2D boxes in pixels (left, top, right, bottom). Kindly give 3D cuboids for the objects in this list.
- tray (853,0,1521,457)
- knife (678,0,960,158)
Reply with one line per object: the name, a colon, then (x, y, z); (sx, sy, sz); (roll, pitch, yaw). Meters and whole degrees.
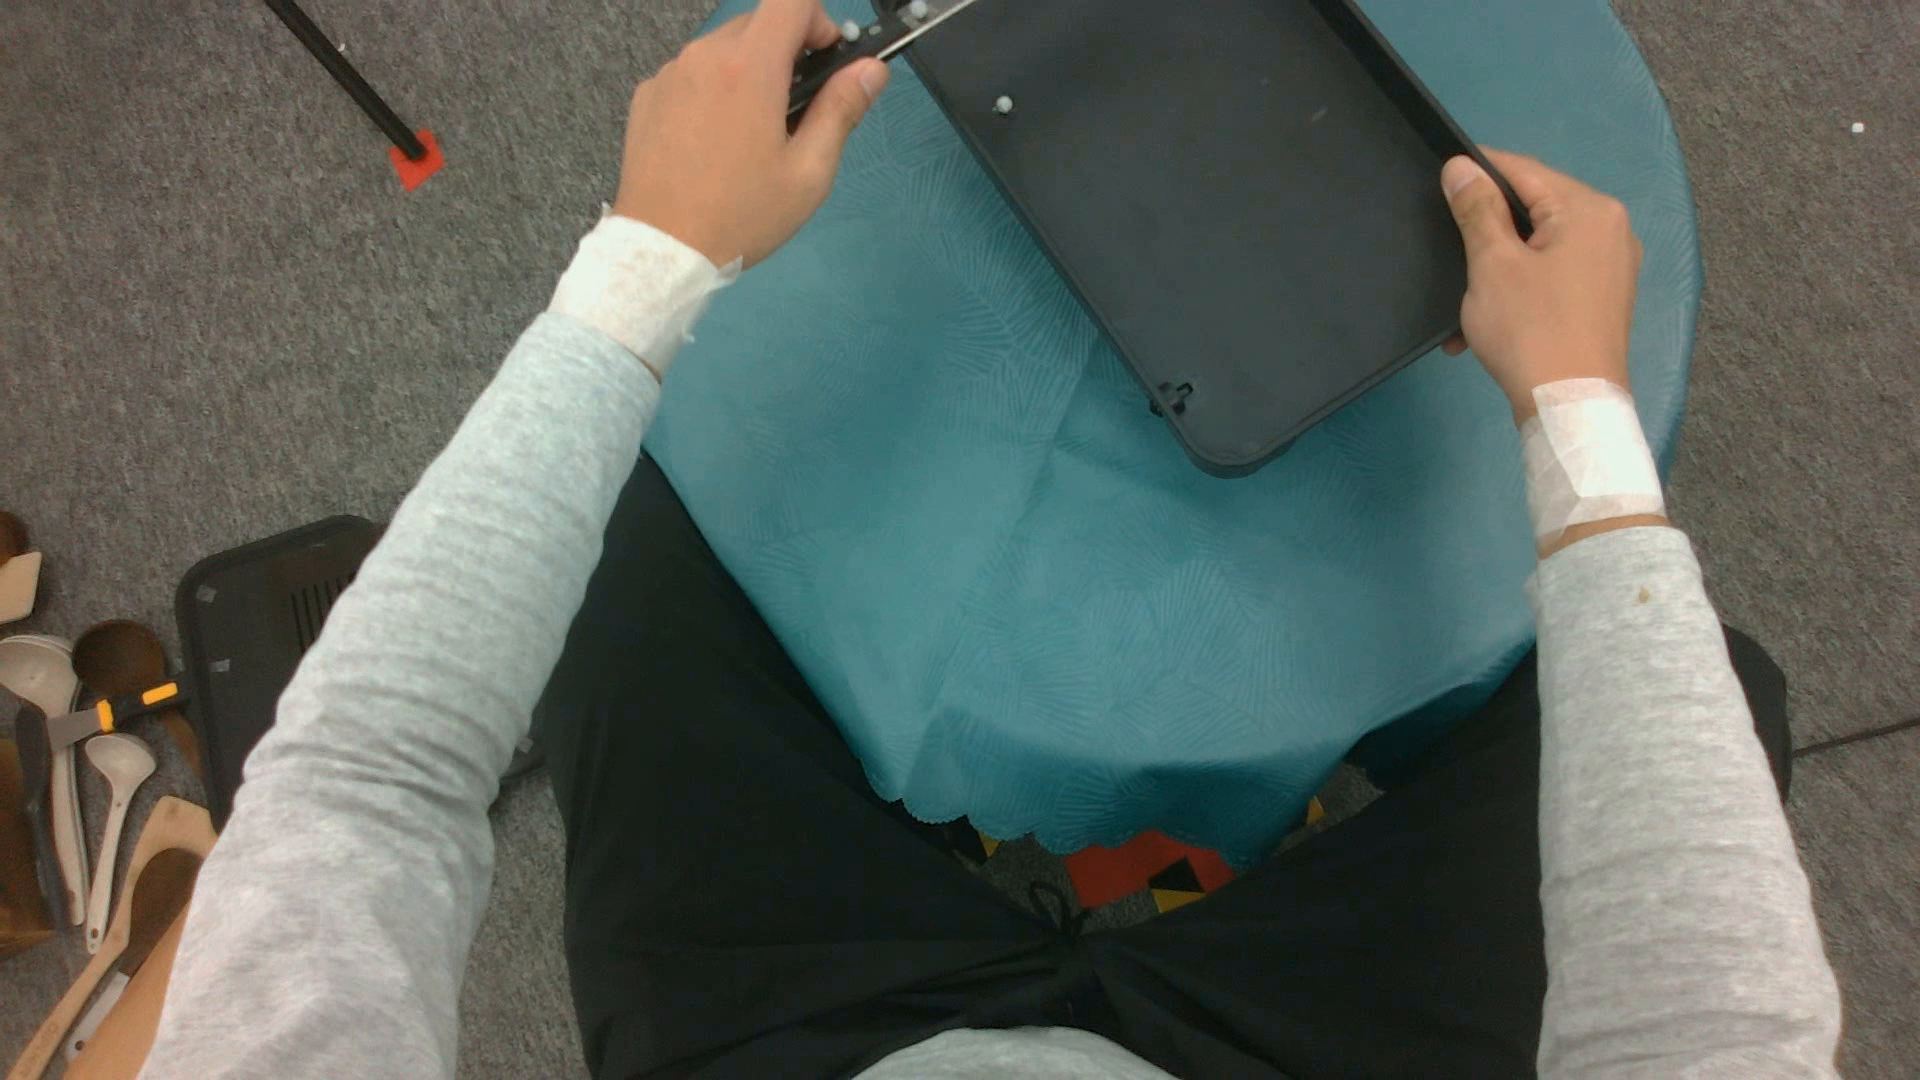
tray: (0.100, -0.209, 0.668); (0.184, 0.037, 0.318); (-35, 77, 1)
knife: (-0.024, -0.239, 0.627); (0.238, 0.016, 0.024); (-33, 53, -3)
